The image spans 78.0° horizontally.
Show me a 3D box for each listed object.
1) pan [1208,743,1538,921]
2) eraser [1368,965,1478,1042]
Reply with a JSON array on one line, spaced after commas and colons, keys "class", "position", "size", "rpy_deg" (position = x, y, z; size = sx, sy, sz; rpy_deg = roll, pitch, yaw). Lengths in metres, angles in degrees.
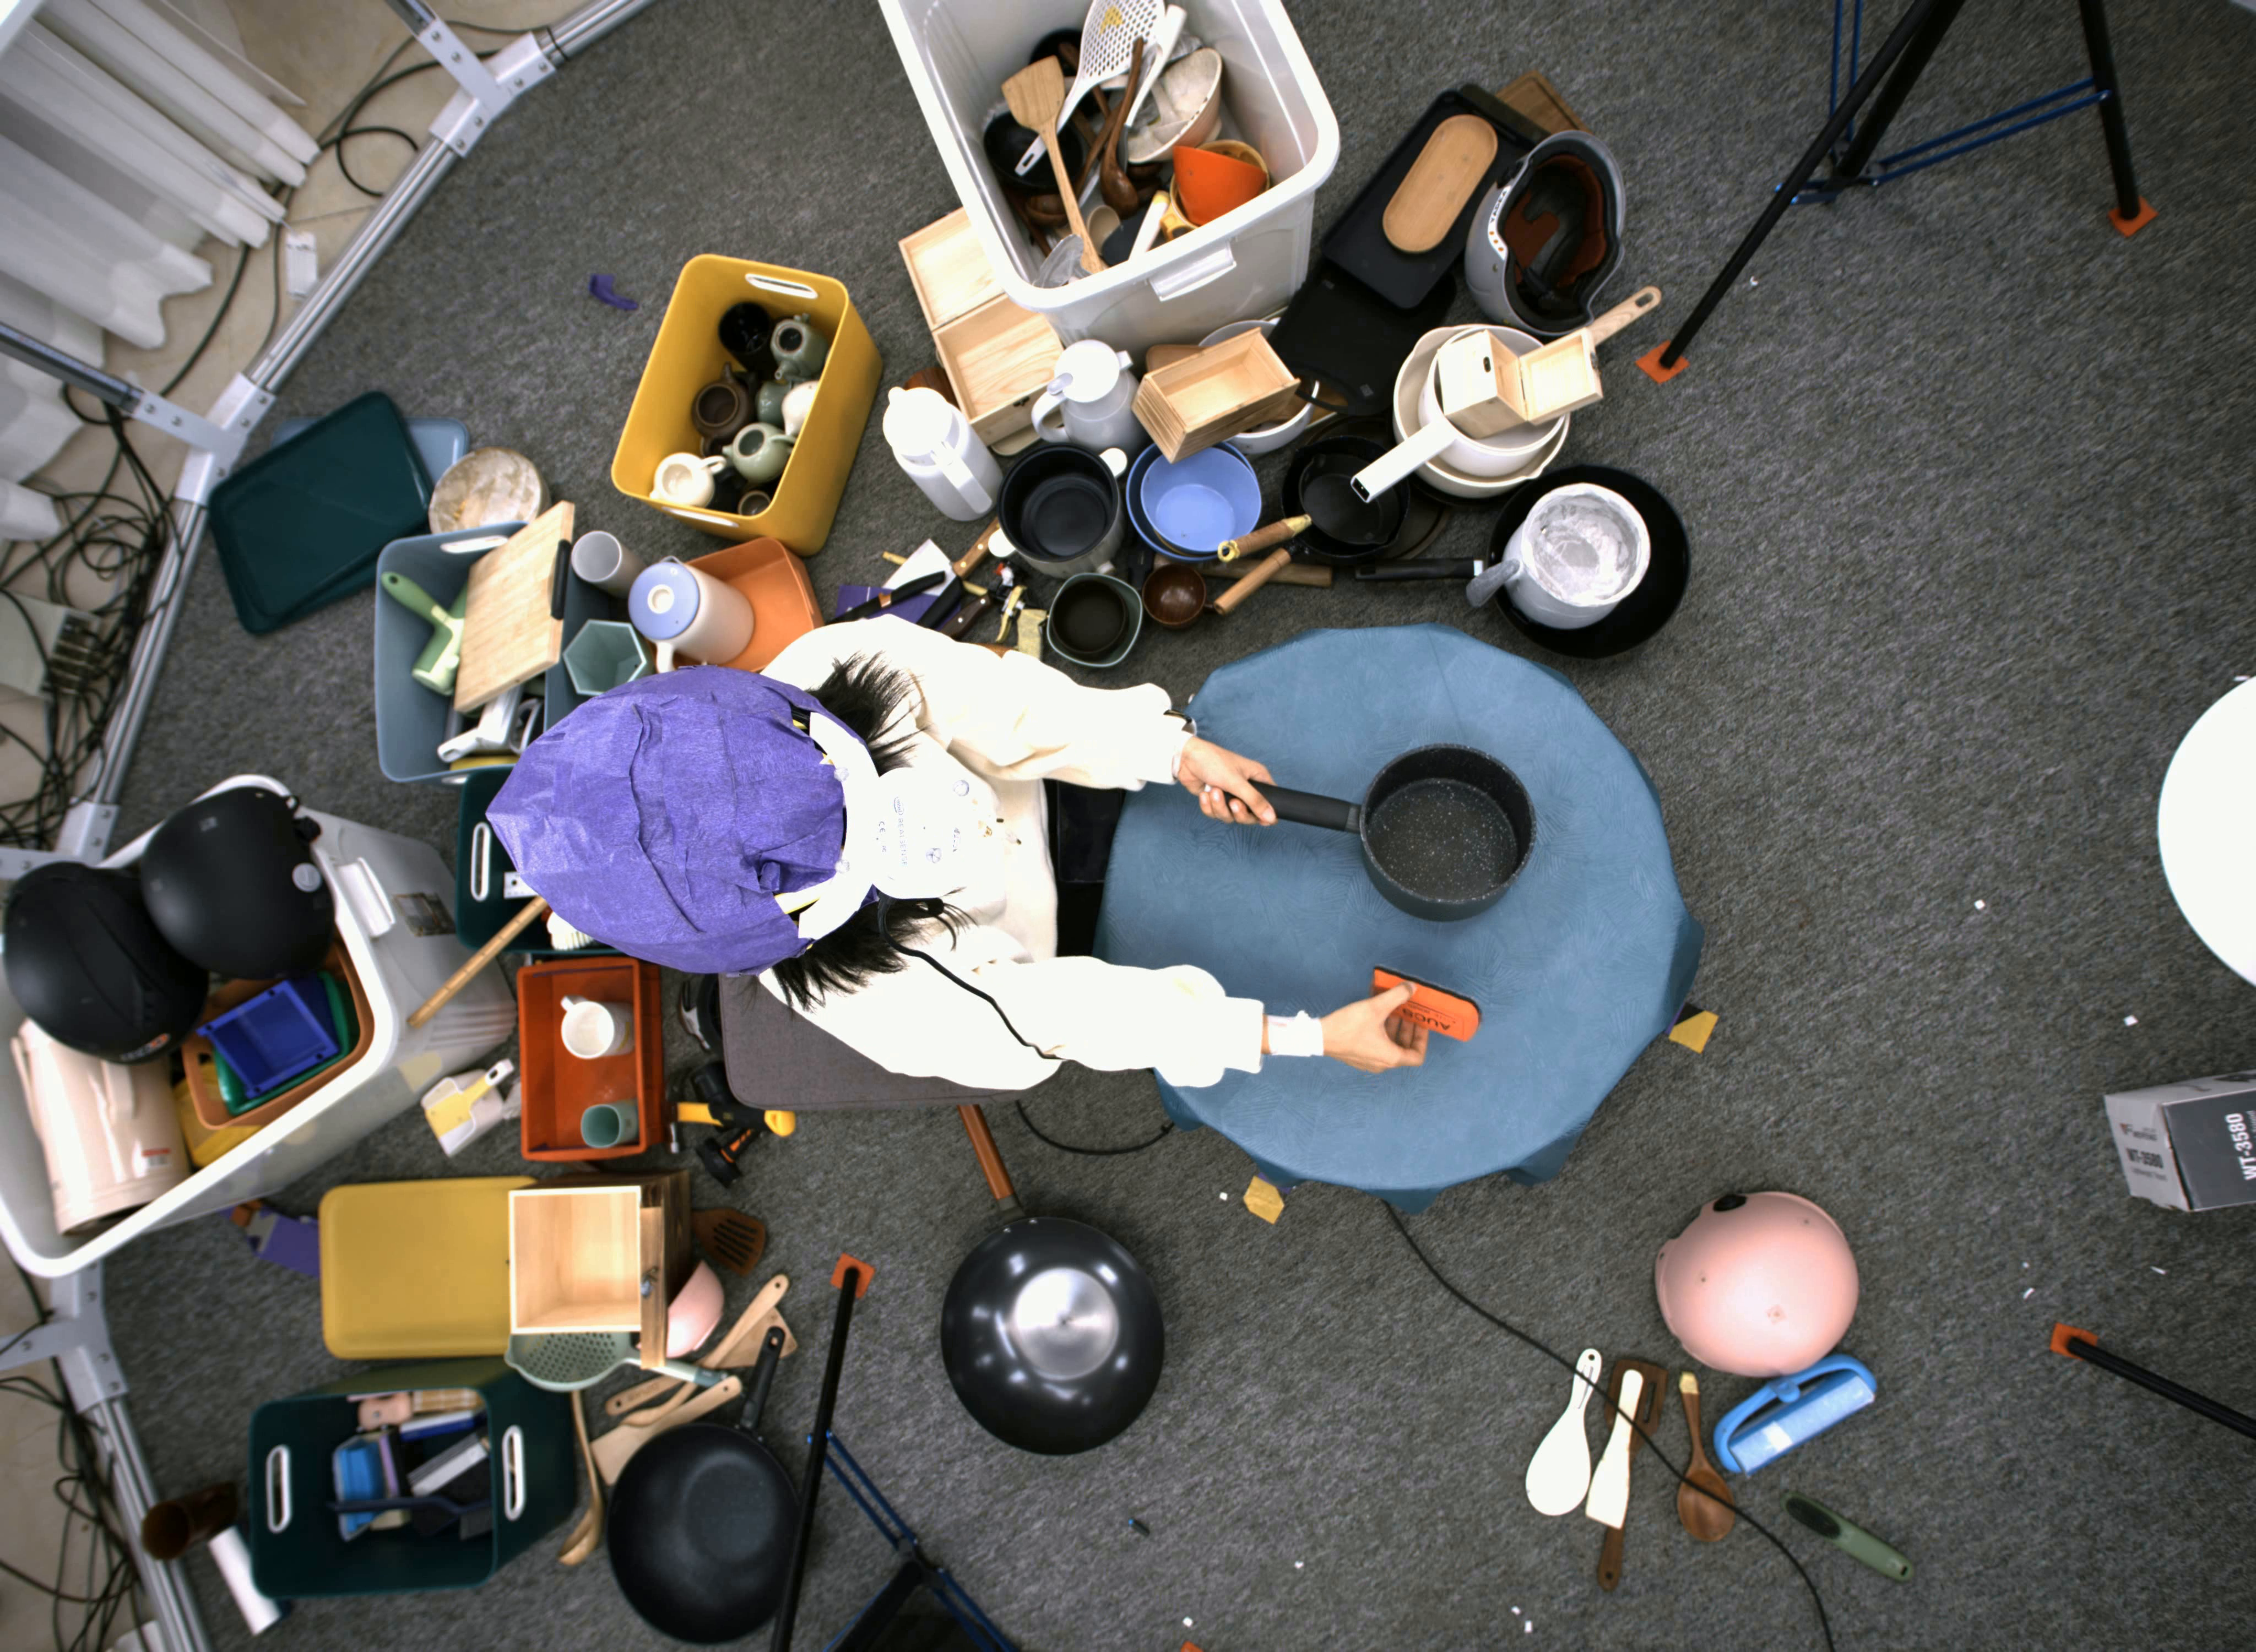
[{"class": "pan", "position": [0.243, -0.006, 1.403], "size": [0.329, 0.088, 0.169], "rpy_deg": [11, 72, 9]}, {"class": "eraser", "position": [0.293, 0.175, 1.377], "size": [0.108, 0.060, 0.022], "rpy_deg": [18, 60, 22]}]
